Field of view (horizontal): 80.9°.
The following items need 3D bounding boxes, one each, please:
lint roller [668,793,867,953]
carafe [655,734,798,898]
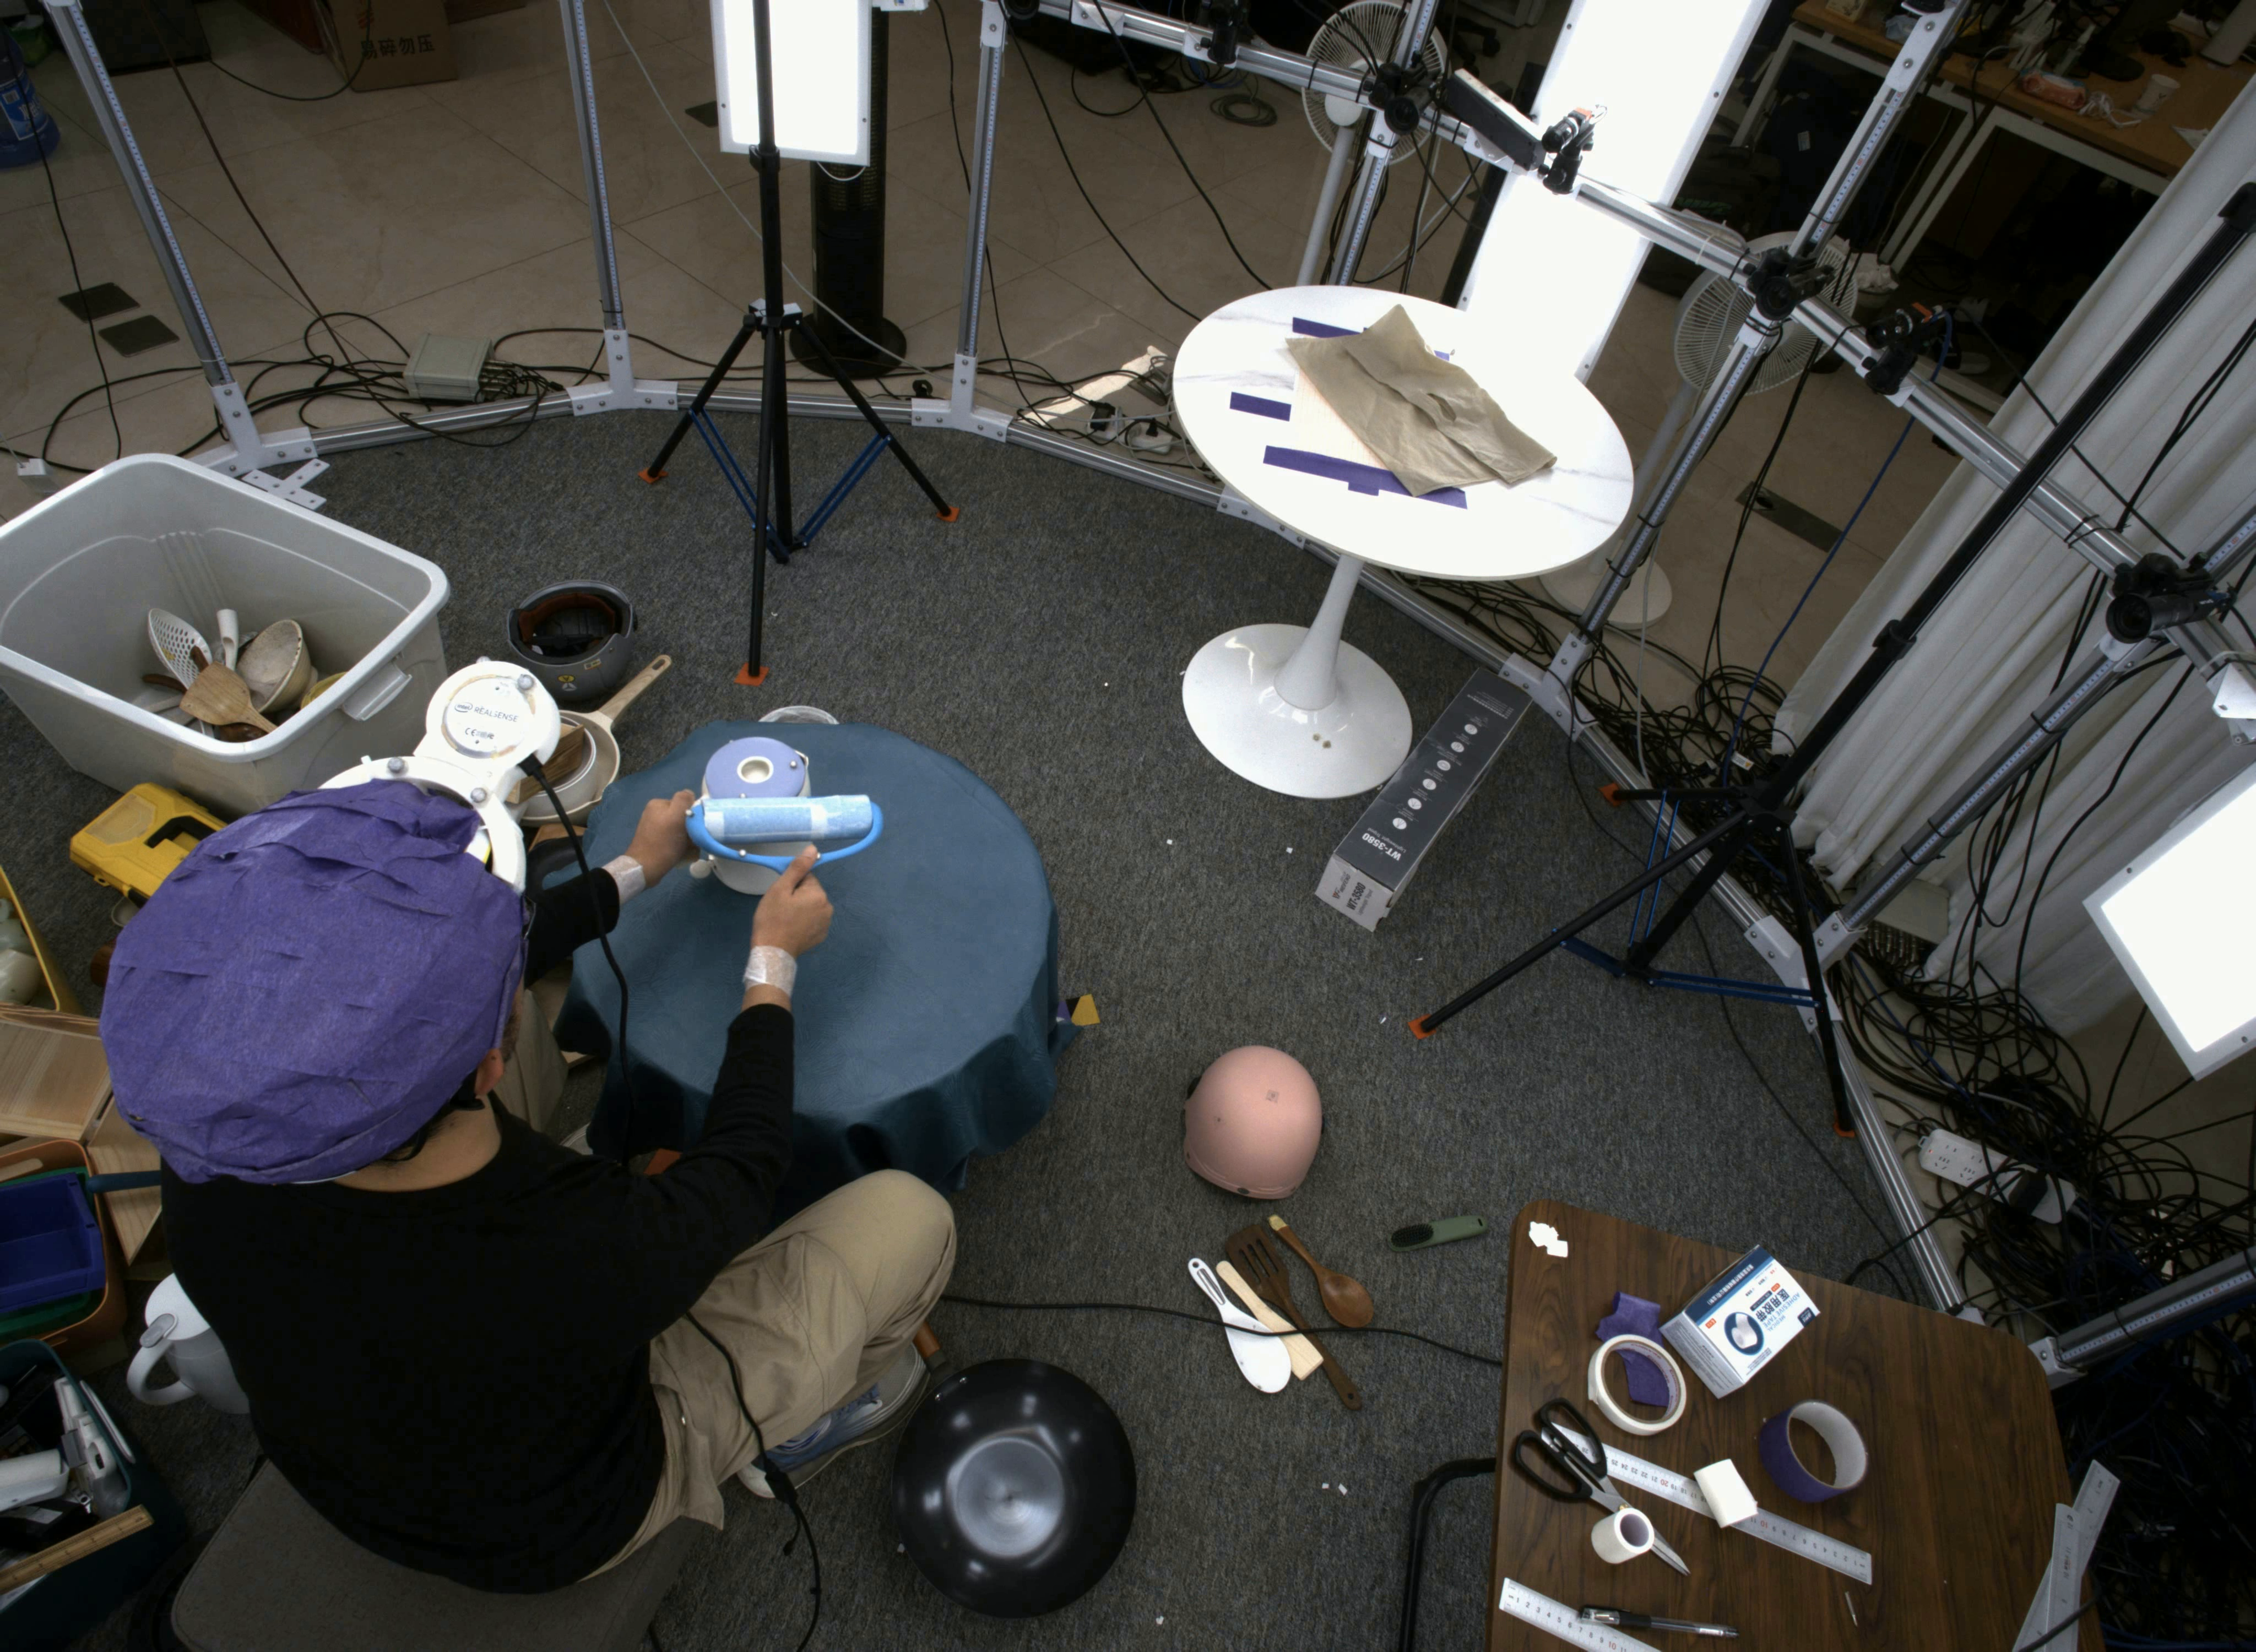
[{"bbox_3d":[-0.405,0.050,1.494,0.232,0.067,0.181,-5,81,-31],"label":"lint roller"},{"bbox_3d":[-0.495,-0.002,1.590,0.192,0.186,0.129,-29,63,-28],"label":"carafe"}]
